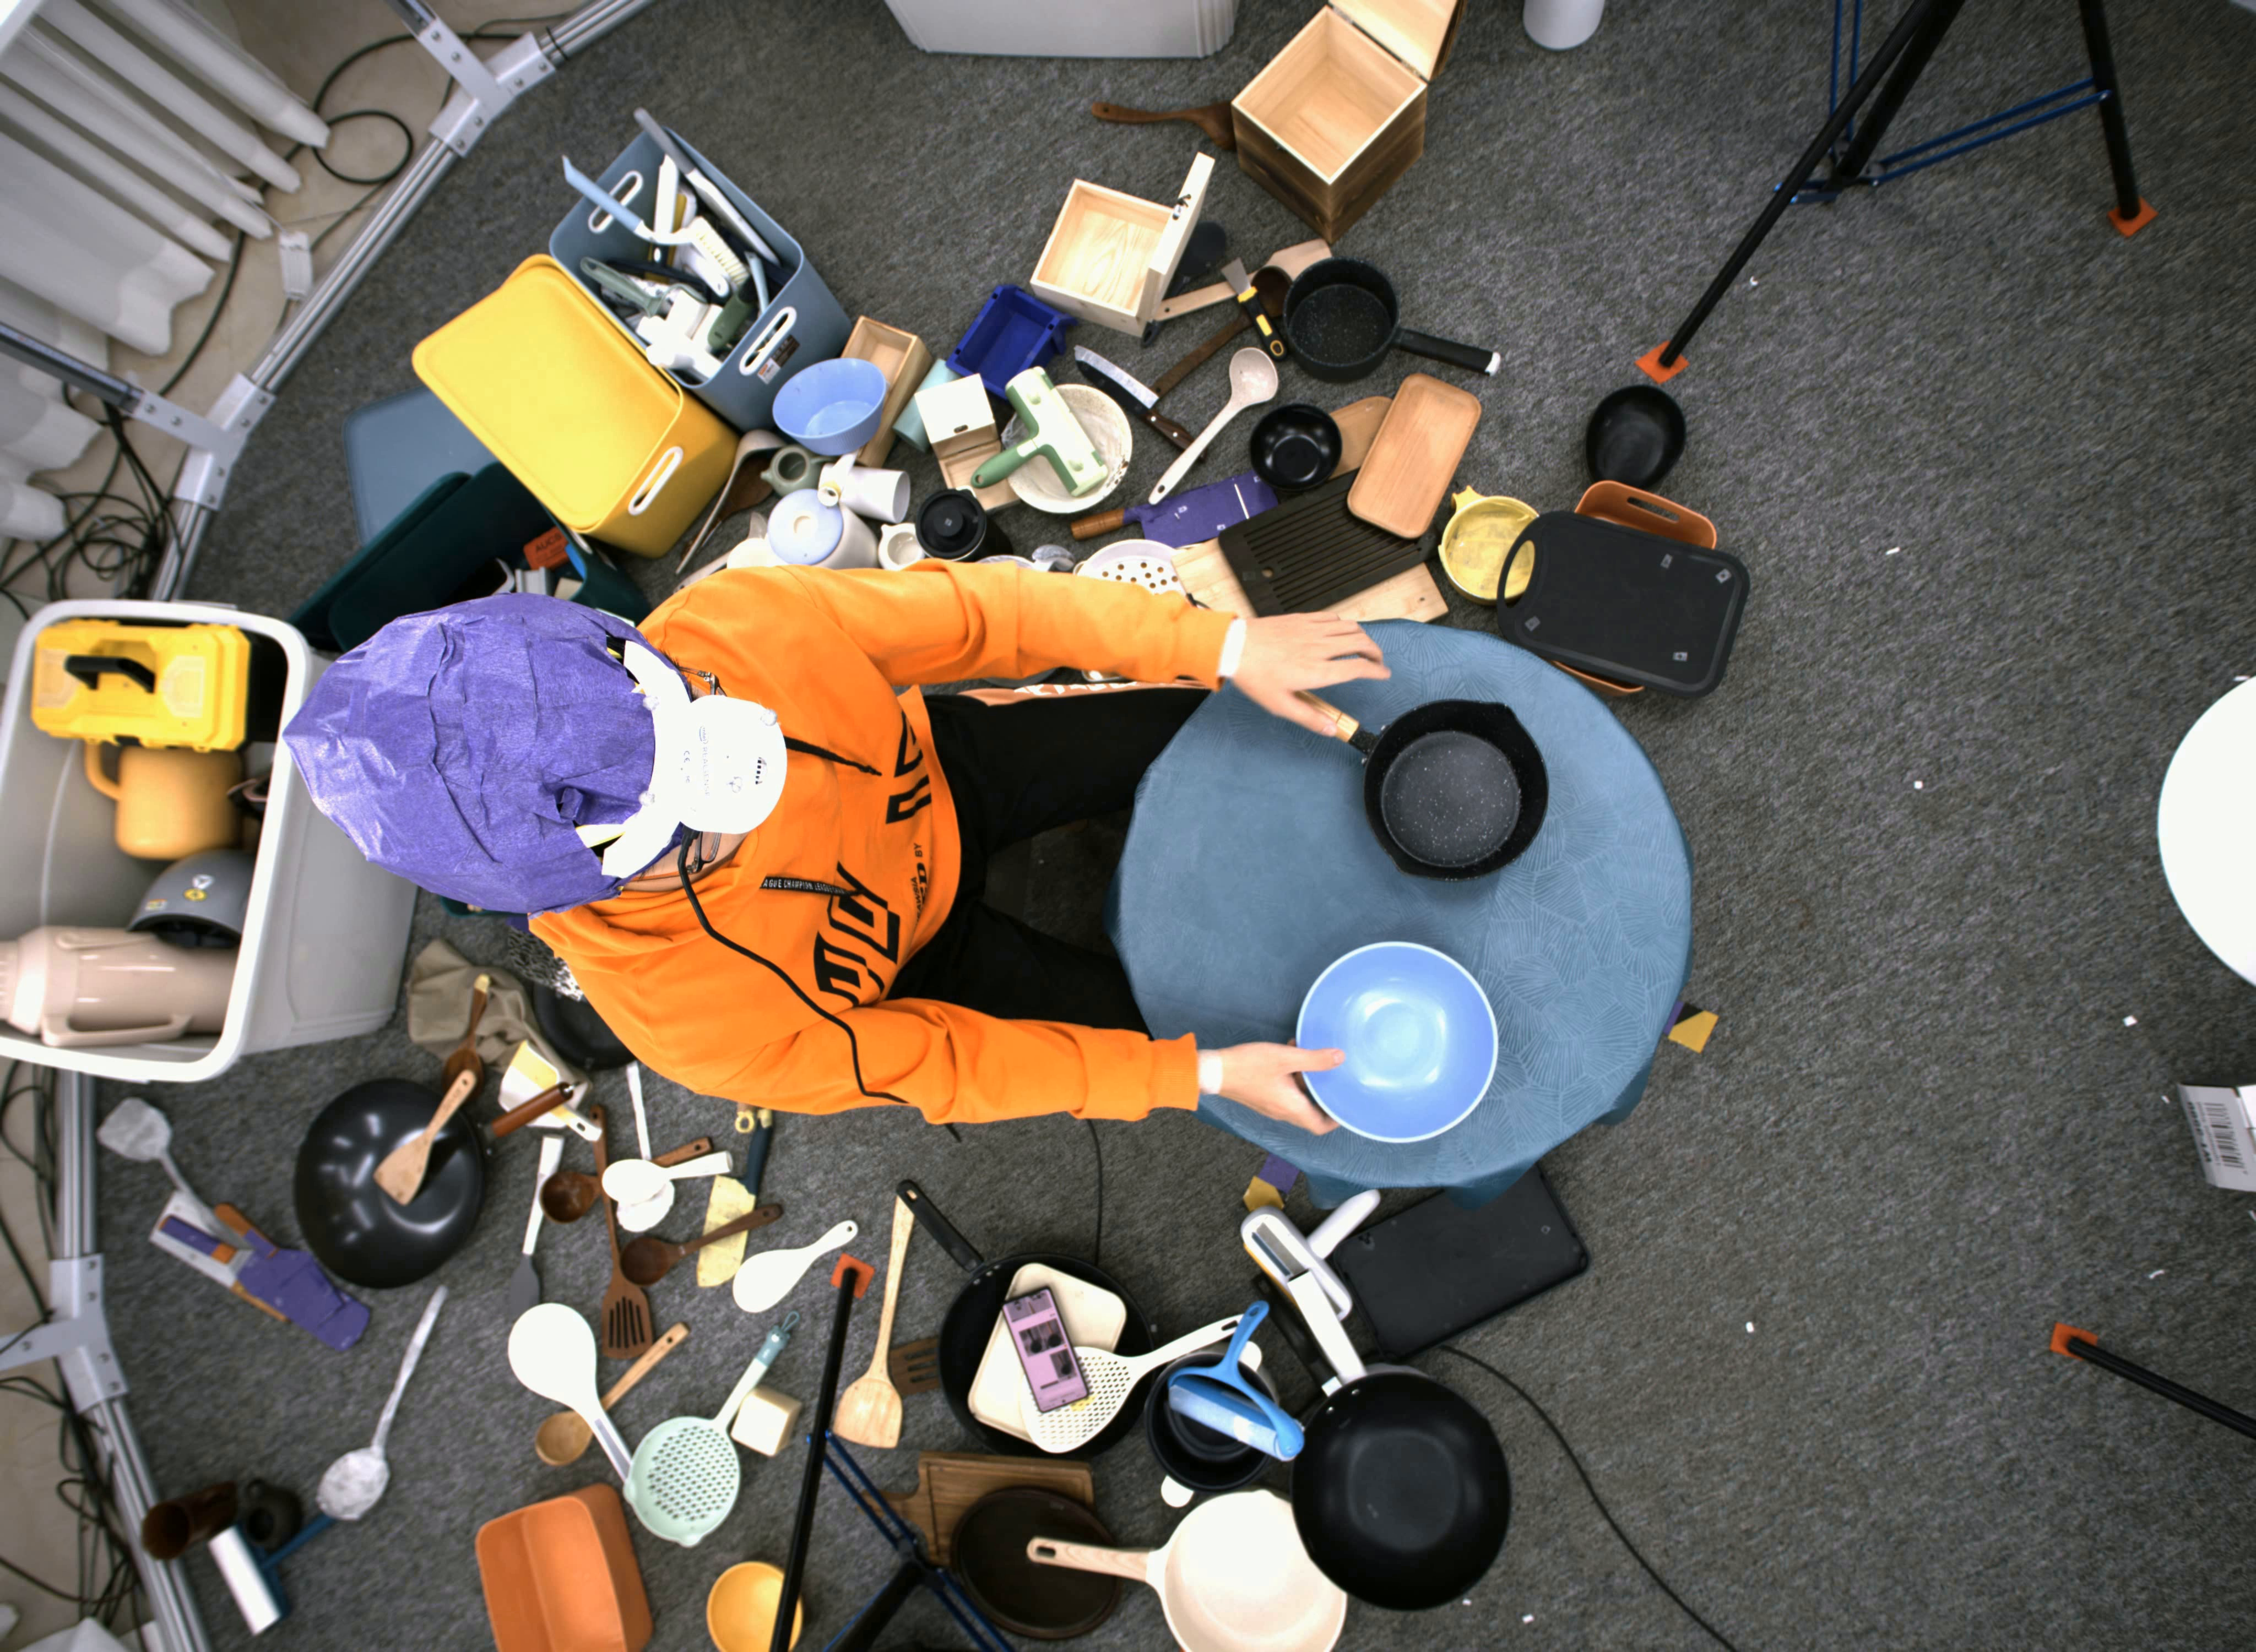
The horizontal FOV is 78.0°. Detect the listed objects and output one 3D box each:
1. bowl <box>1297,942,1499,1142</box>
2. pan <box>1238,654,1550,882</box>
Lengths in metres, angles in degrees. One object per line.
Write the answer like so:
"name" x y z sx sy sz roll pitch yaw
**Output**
"bowl" 0.271 0.215 1.403 0.197 0.095 0.196 -1 87 9
"pan" 0.264 -0.075 1.414 0.342 0.108 0.208 30 93 9
